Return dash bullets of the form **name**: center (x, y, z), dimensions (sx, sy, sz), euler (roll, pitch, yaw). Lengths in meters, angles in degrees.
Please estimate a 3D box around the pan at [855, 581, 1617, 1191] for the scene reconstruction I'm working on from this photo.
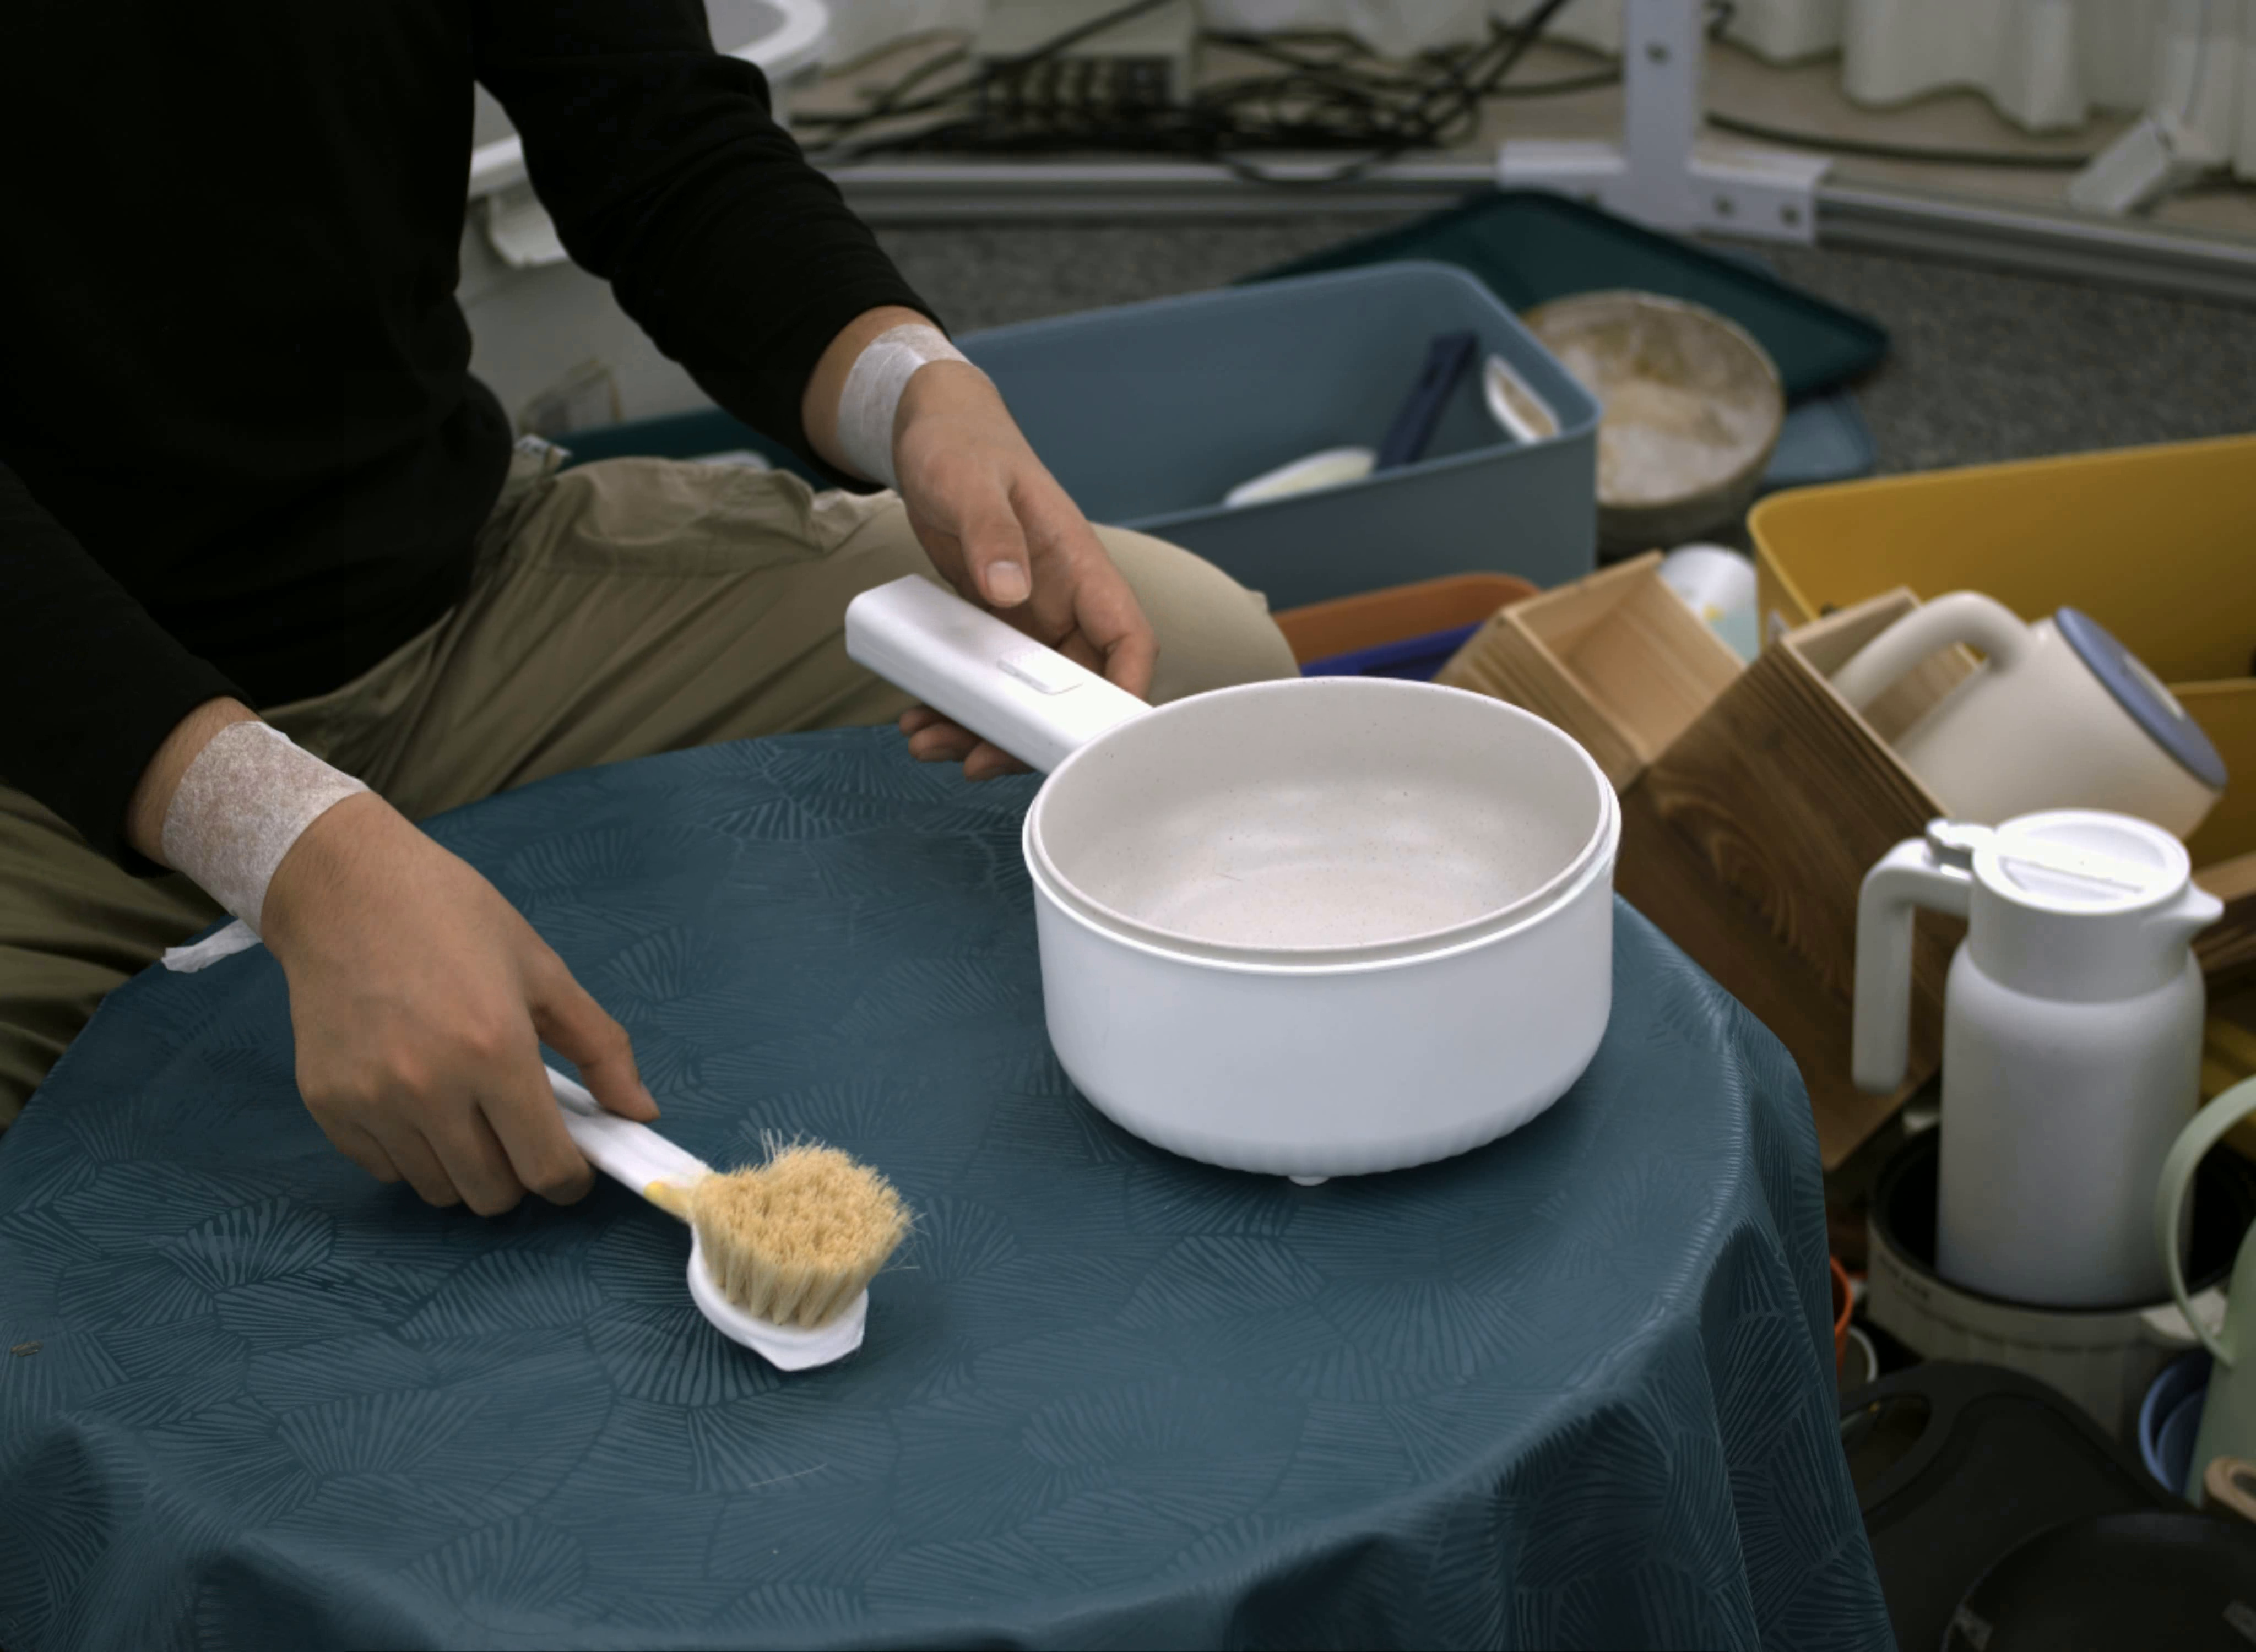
- **pan**: center (0.021, 0.014, 1.965), dimensions (0.203, 0.101, 0.355), euler (-23, 32, -31)

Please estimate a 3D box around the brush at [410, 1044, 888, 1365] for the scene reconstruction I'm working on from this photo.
- **brush**: center (-0.168, 0.102, 1.854), dimensions (0.069, 0.056, 0.267), euler (1, 19, -35)
